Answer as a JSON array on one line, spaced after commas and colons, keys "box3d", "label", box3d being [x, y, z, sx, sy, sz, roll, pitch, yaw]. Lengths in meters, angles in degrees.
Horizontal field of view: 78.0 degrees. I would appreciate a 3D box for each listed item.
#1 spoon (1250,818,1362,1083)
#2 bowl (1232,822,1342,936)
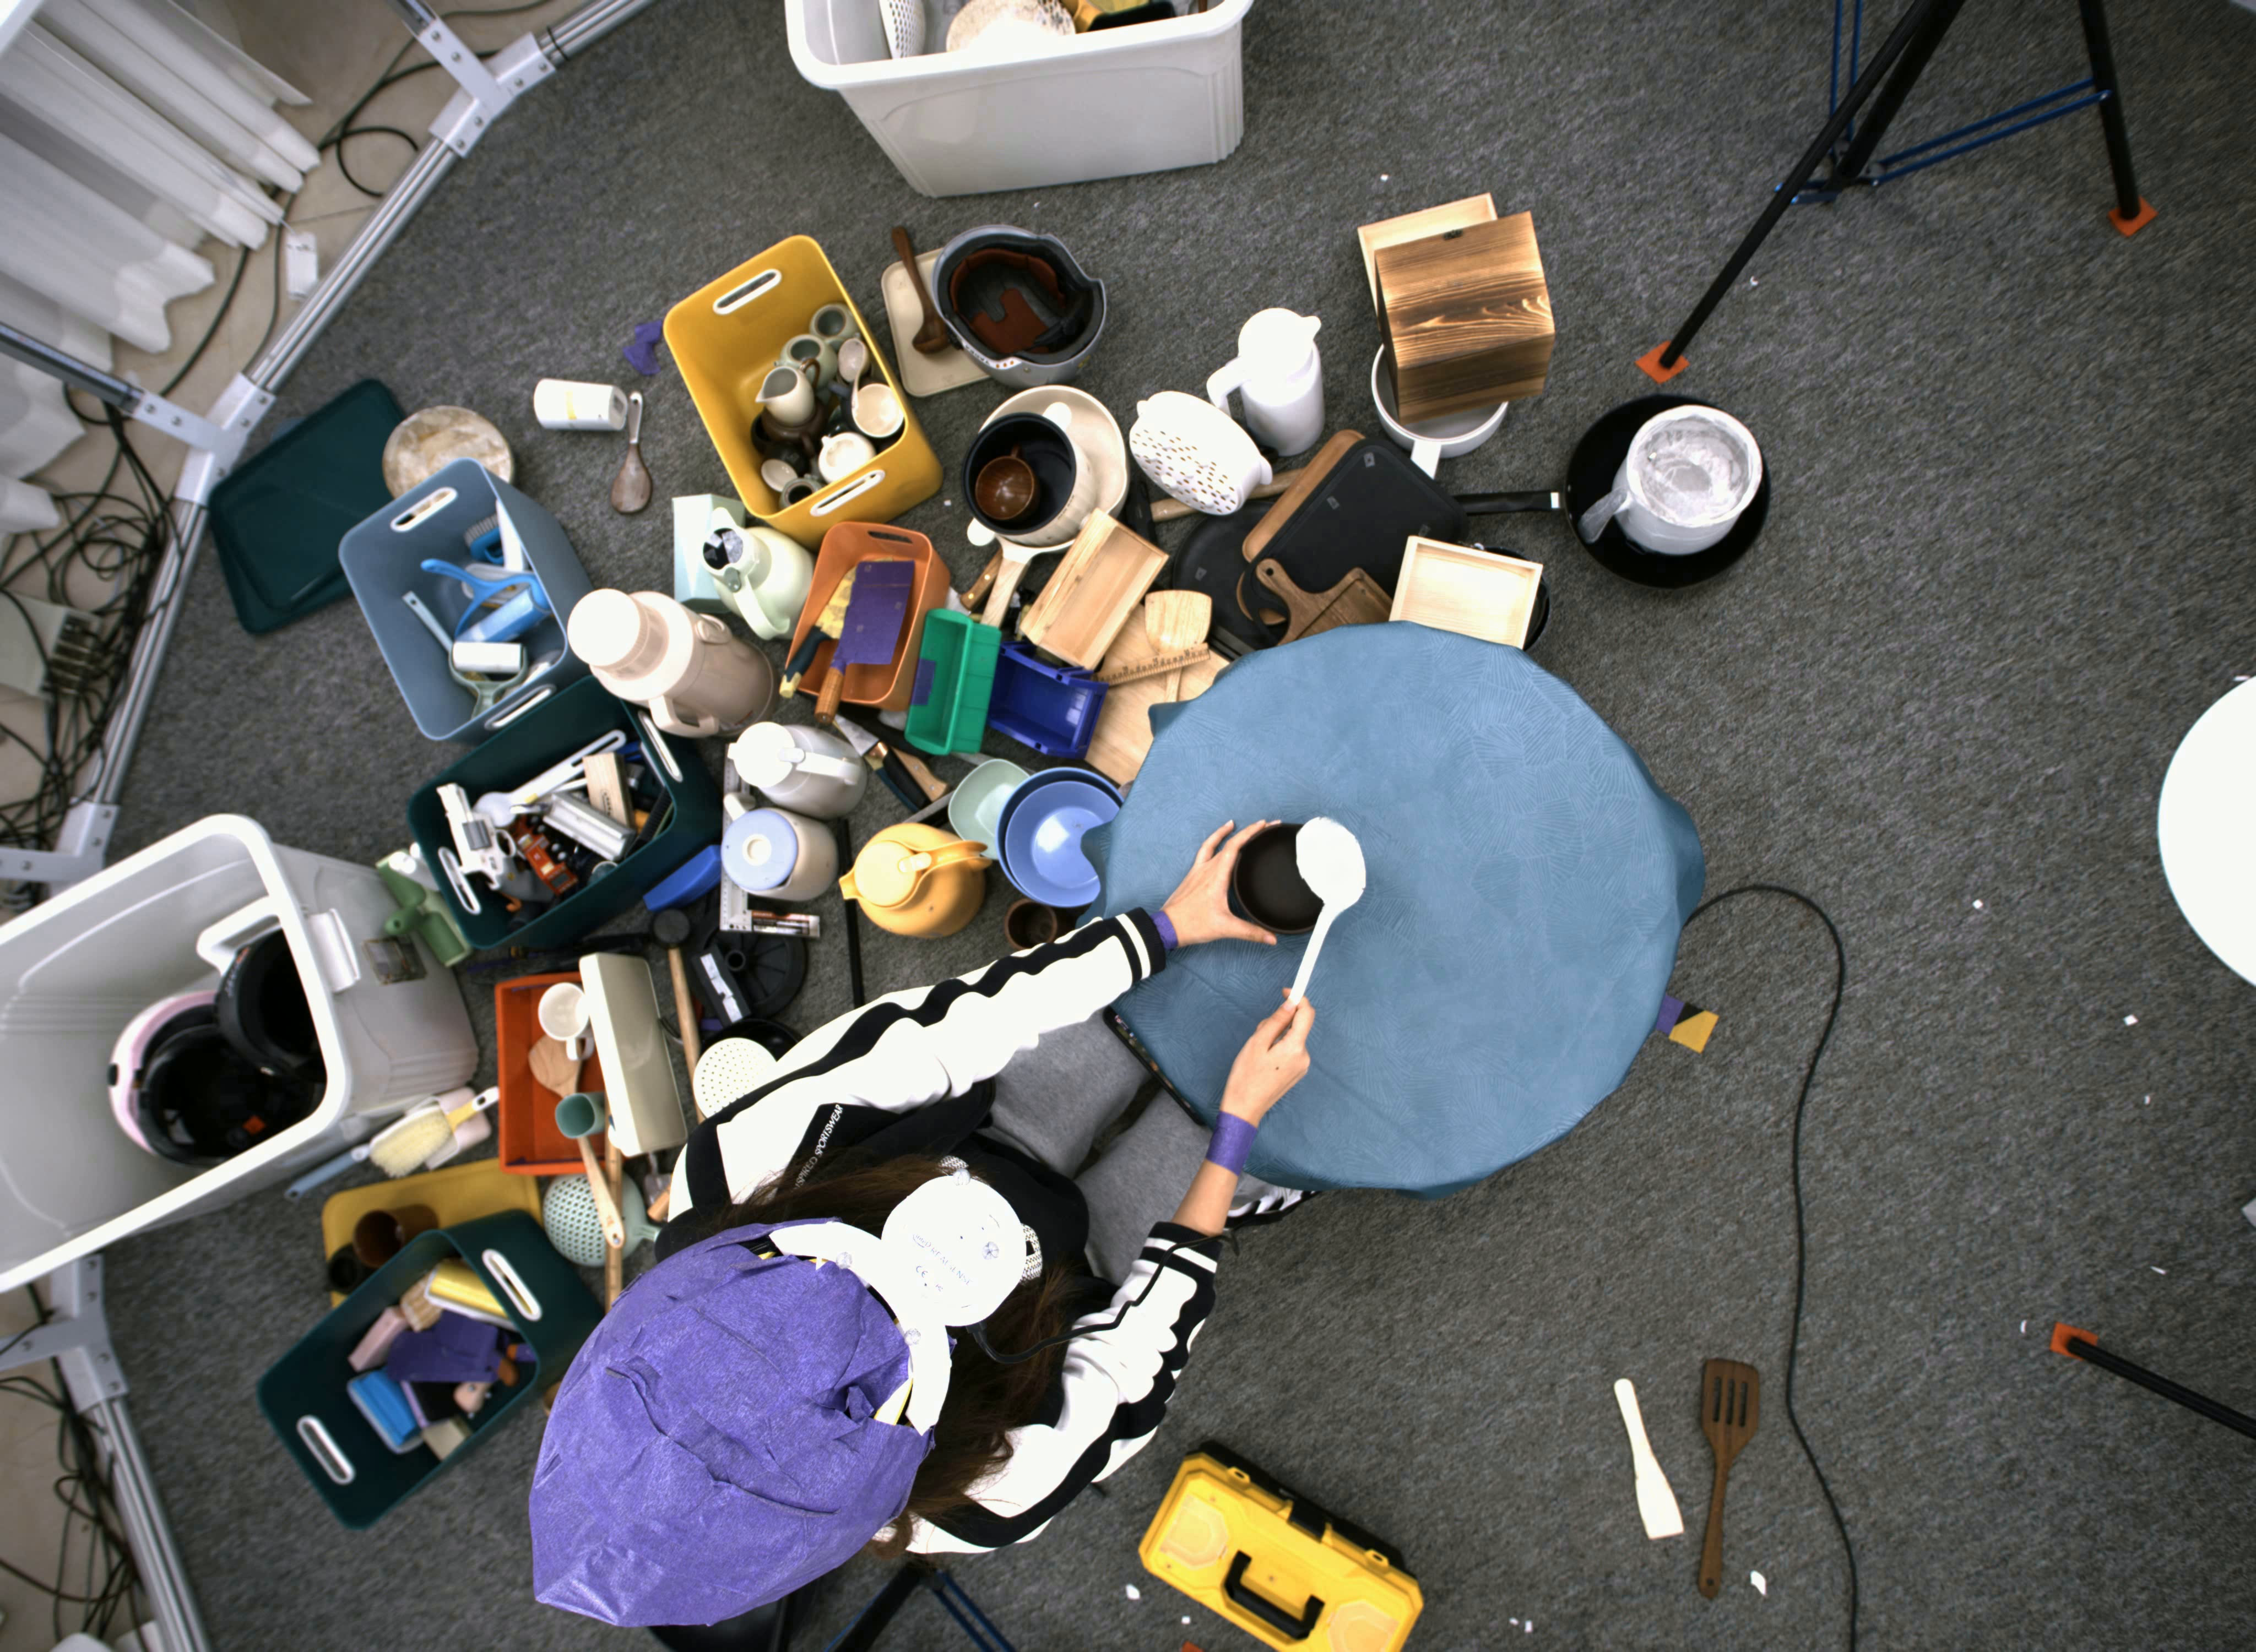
[{"box3d": [0.161, 0.126, 1.392, 0.100, 0.059, 0.279, 32, 101, 52], "label": "spoon"}, {"box3d": [0.169, 0.056, 1.443, 0.118, 0.070, 0.117, -1, 86, 10], "label": "bowl"}]
